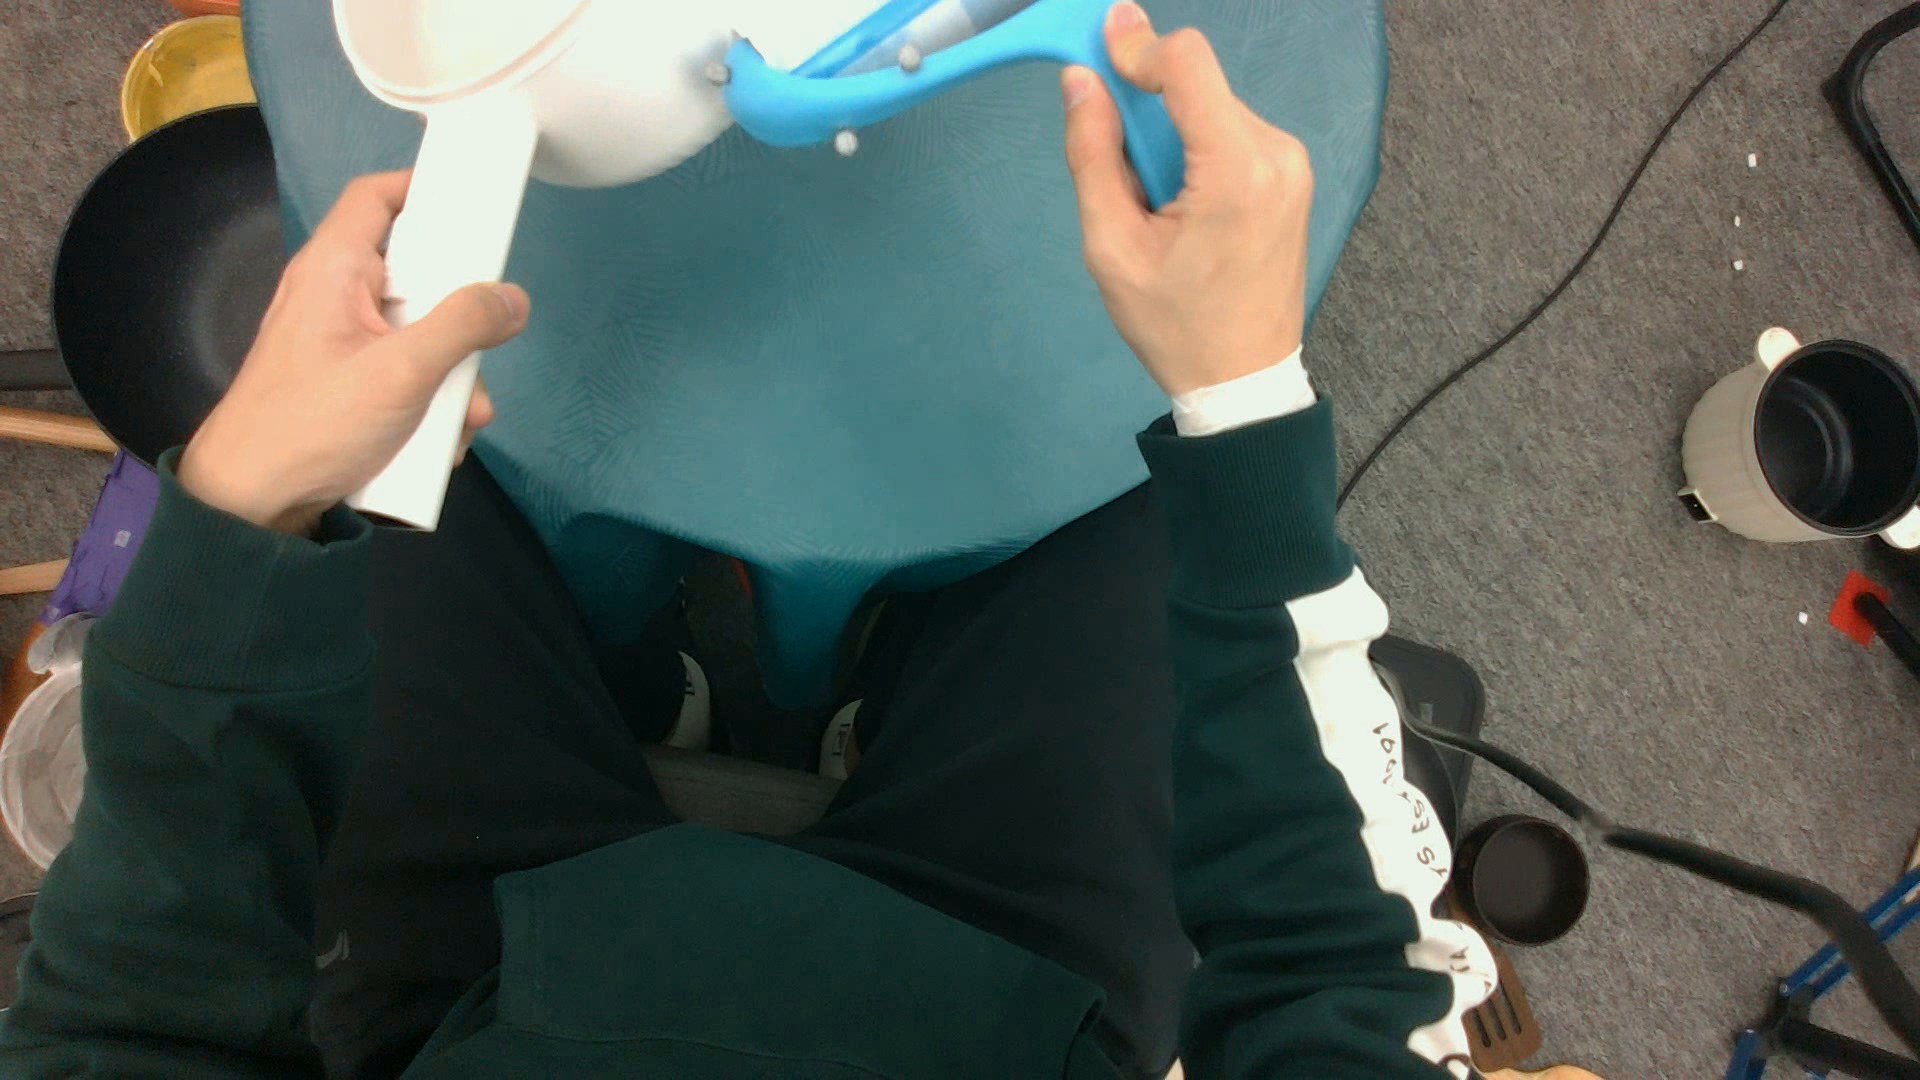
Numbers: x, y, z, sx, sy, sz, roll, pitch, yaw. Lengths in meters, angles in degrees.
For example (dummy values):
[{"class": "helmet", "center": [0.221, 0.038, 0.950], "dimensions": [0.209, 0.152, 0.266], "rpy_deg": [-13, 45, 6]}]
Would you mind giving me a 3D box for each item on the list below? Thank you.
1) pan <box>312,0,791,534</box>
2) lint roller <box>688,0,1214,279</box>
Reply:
[{"class": "pan", "center": [-0.168, -0.172, 0.553], "dimensions": [0.201, 0.102, 0.355], "rpy_deg": [1, 79, 30]}, {"class": "lint roller", "center": [0.034, -0.176, 0.501], "dimensions": [0.229, 0.068, 0.180], "rpy_deg": [-41, 83, -6]}]
